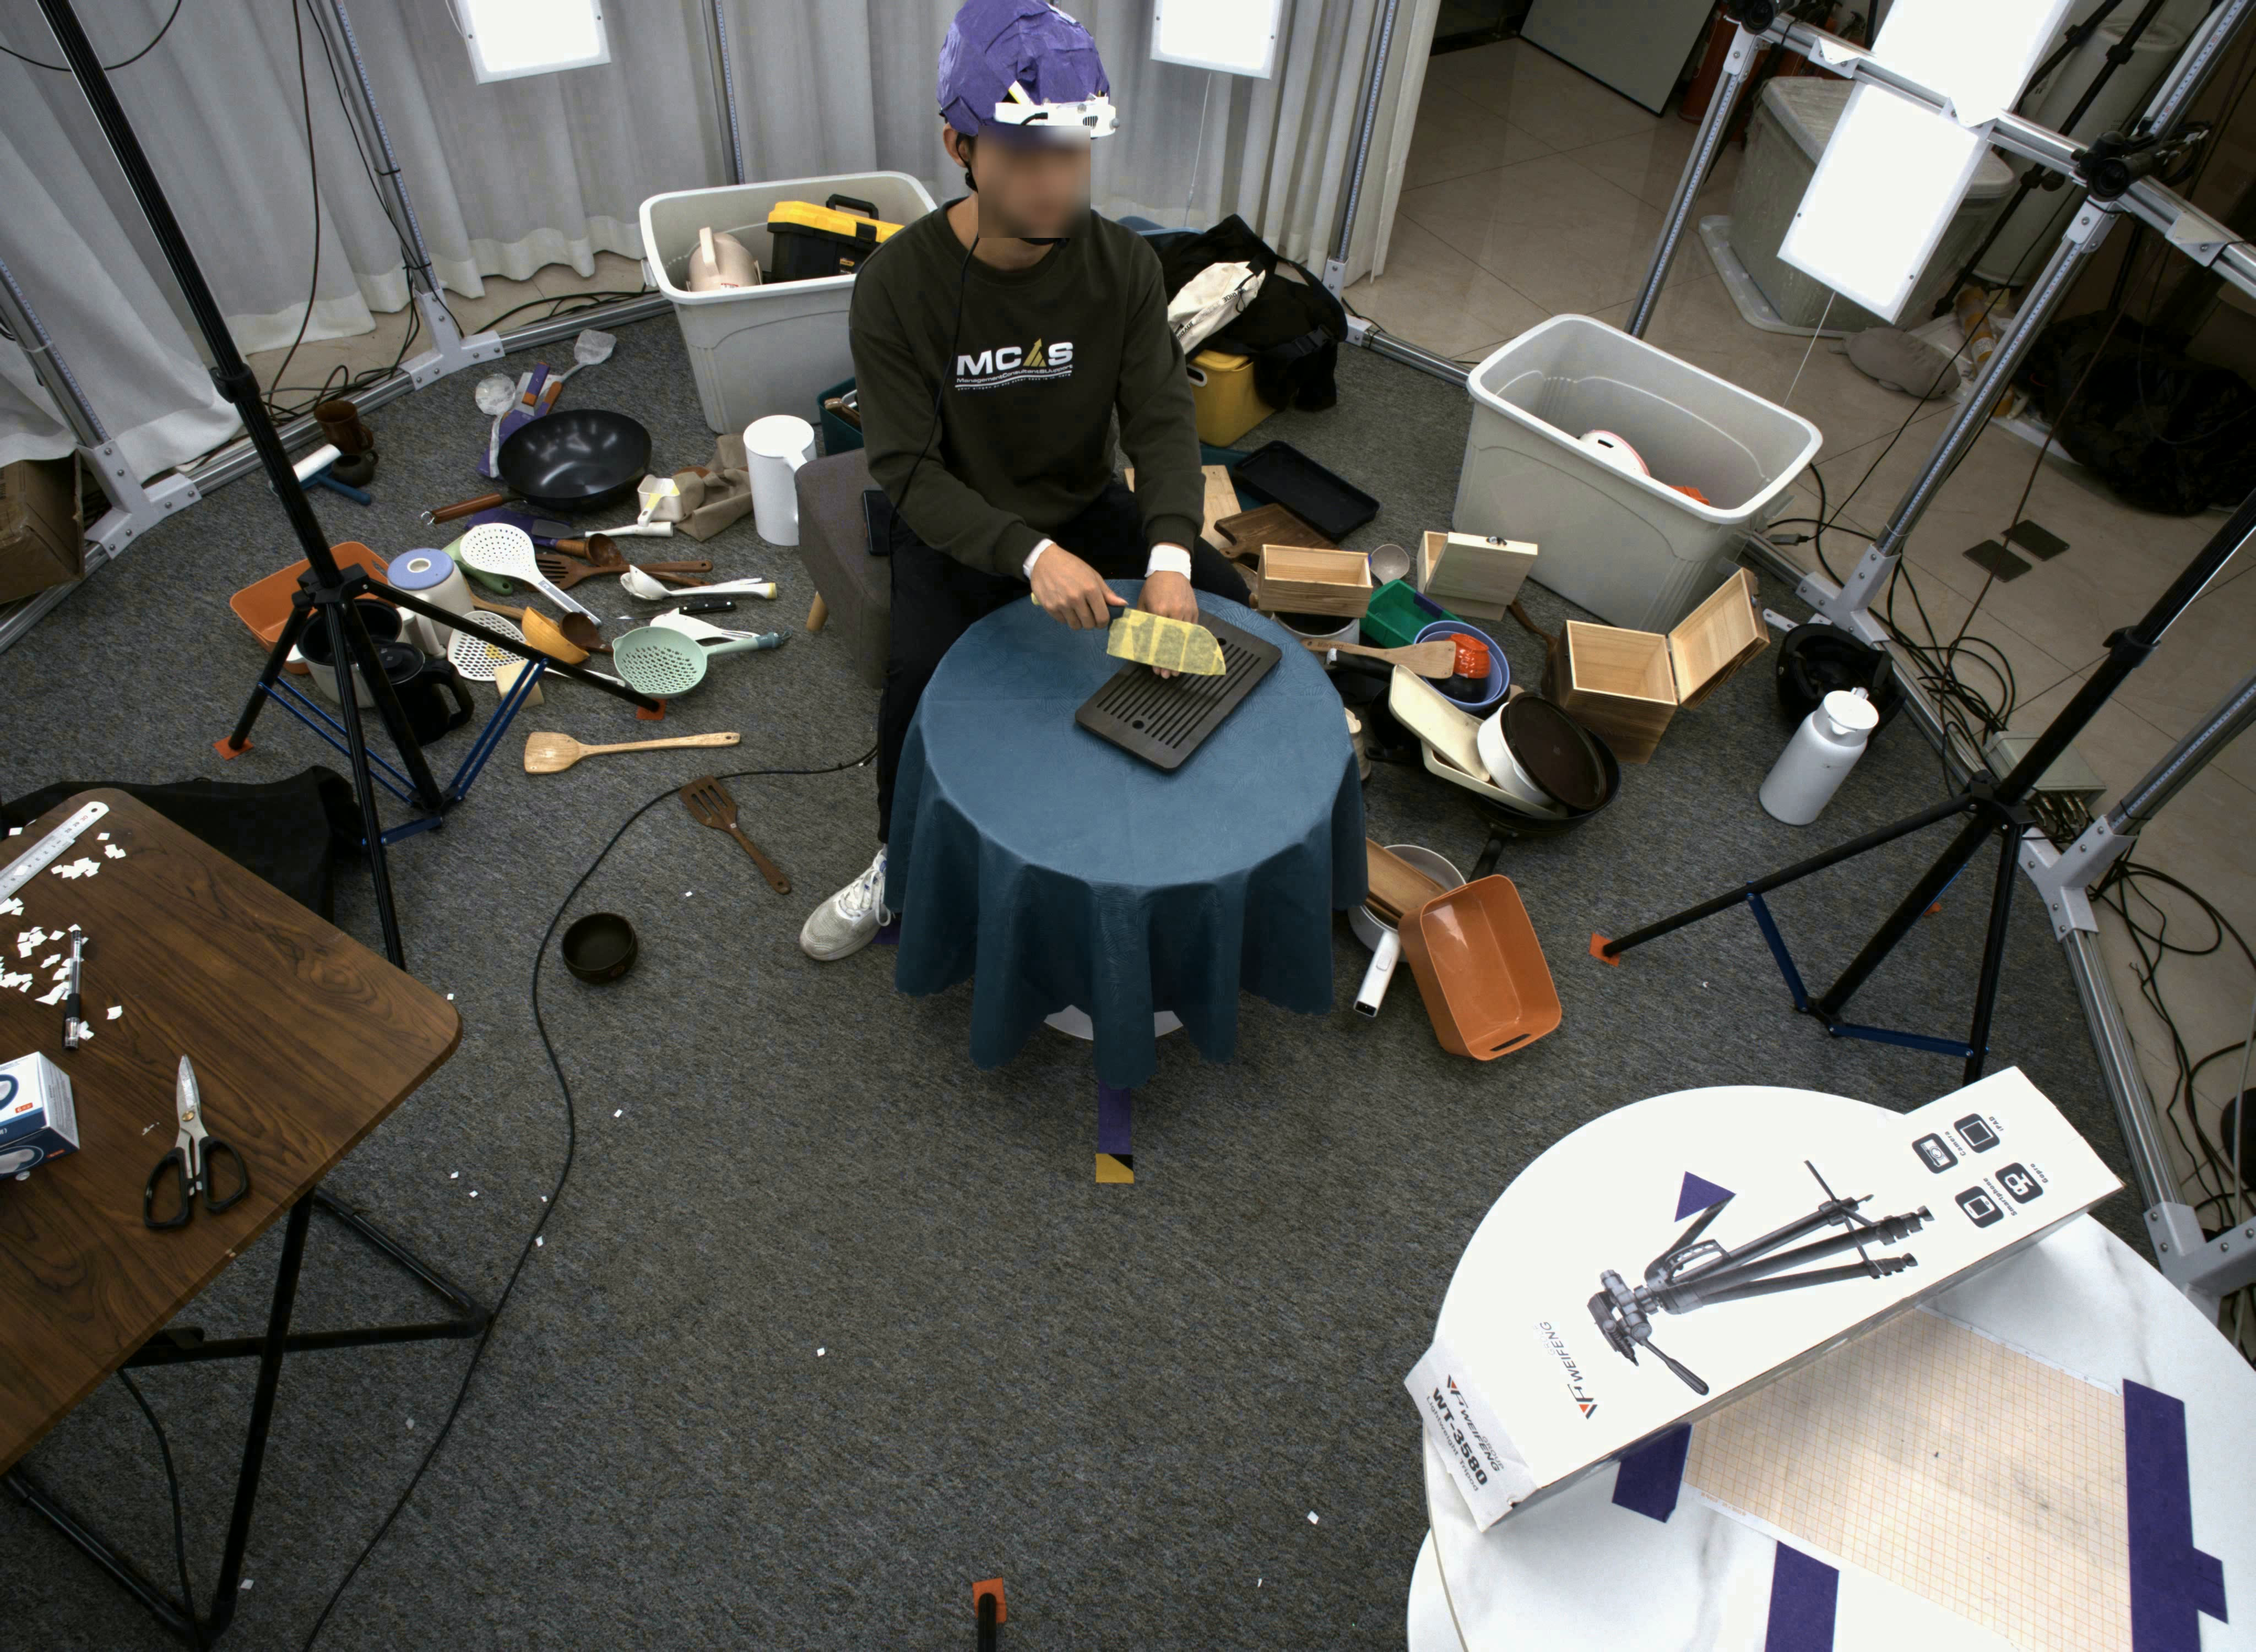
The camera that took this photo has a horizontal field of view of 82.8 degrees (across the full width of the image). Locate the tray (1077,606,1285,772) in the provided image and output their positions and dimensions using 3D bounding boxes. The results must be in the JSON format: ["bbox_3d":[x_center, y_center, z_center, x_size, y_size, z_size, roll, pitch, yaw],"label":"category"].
[{"bbox_3d":[0.079,-0.199,1.834,0.172,0.018,0.310,29,53,21],"label":"tray"}]

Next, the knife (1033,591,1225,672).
[{"bbox_3d":[0.000,-0.276,1.819,0.290,0.080,0.027,18,21,9],"label":"knife"}]
